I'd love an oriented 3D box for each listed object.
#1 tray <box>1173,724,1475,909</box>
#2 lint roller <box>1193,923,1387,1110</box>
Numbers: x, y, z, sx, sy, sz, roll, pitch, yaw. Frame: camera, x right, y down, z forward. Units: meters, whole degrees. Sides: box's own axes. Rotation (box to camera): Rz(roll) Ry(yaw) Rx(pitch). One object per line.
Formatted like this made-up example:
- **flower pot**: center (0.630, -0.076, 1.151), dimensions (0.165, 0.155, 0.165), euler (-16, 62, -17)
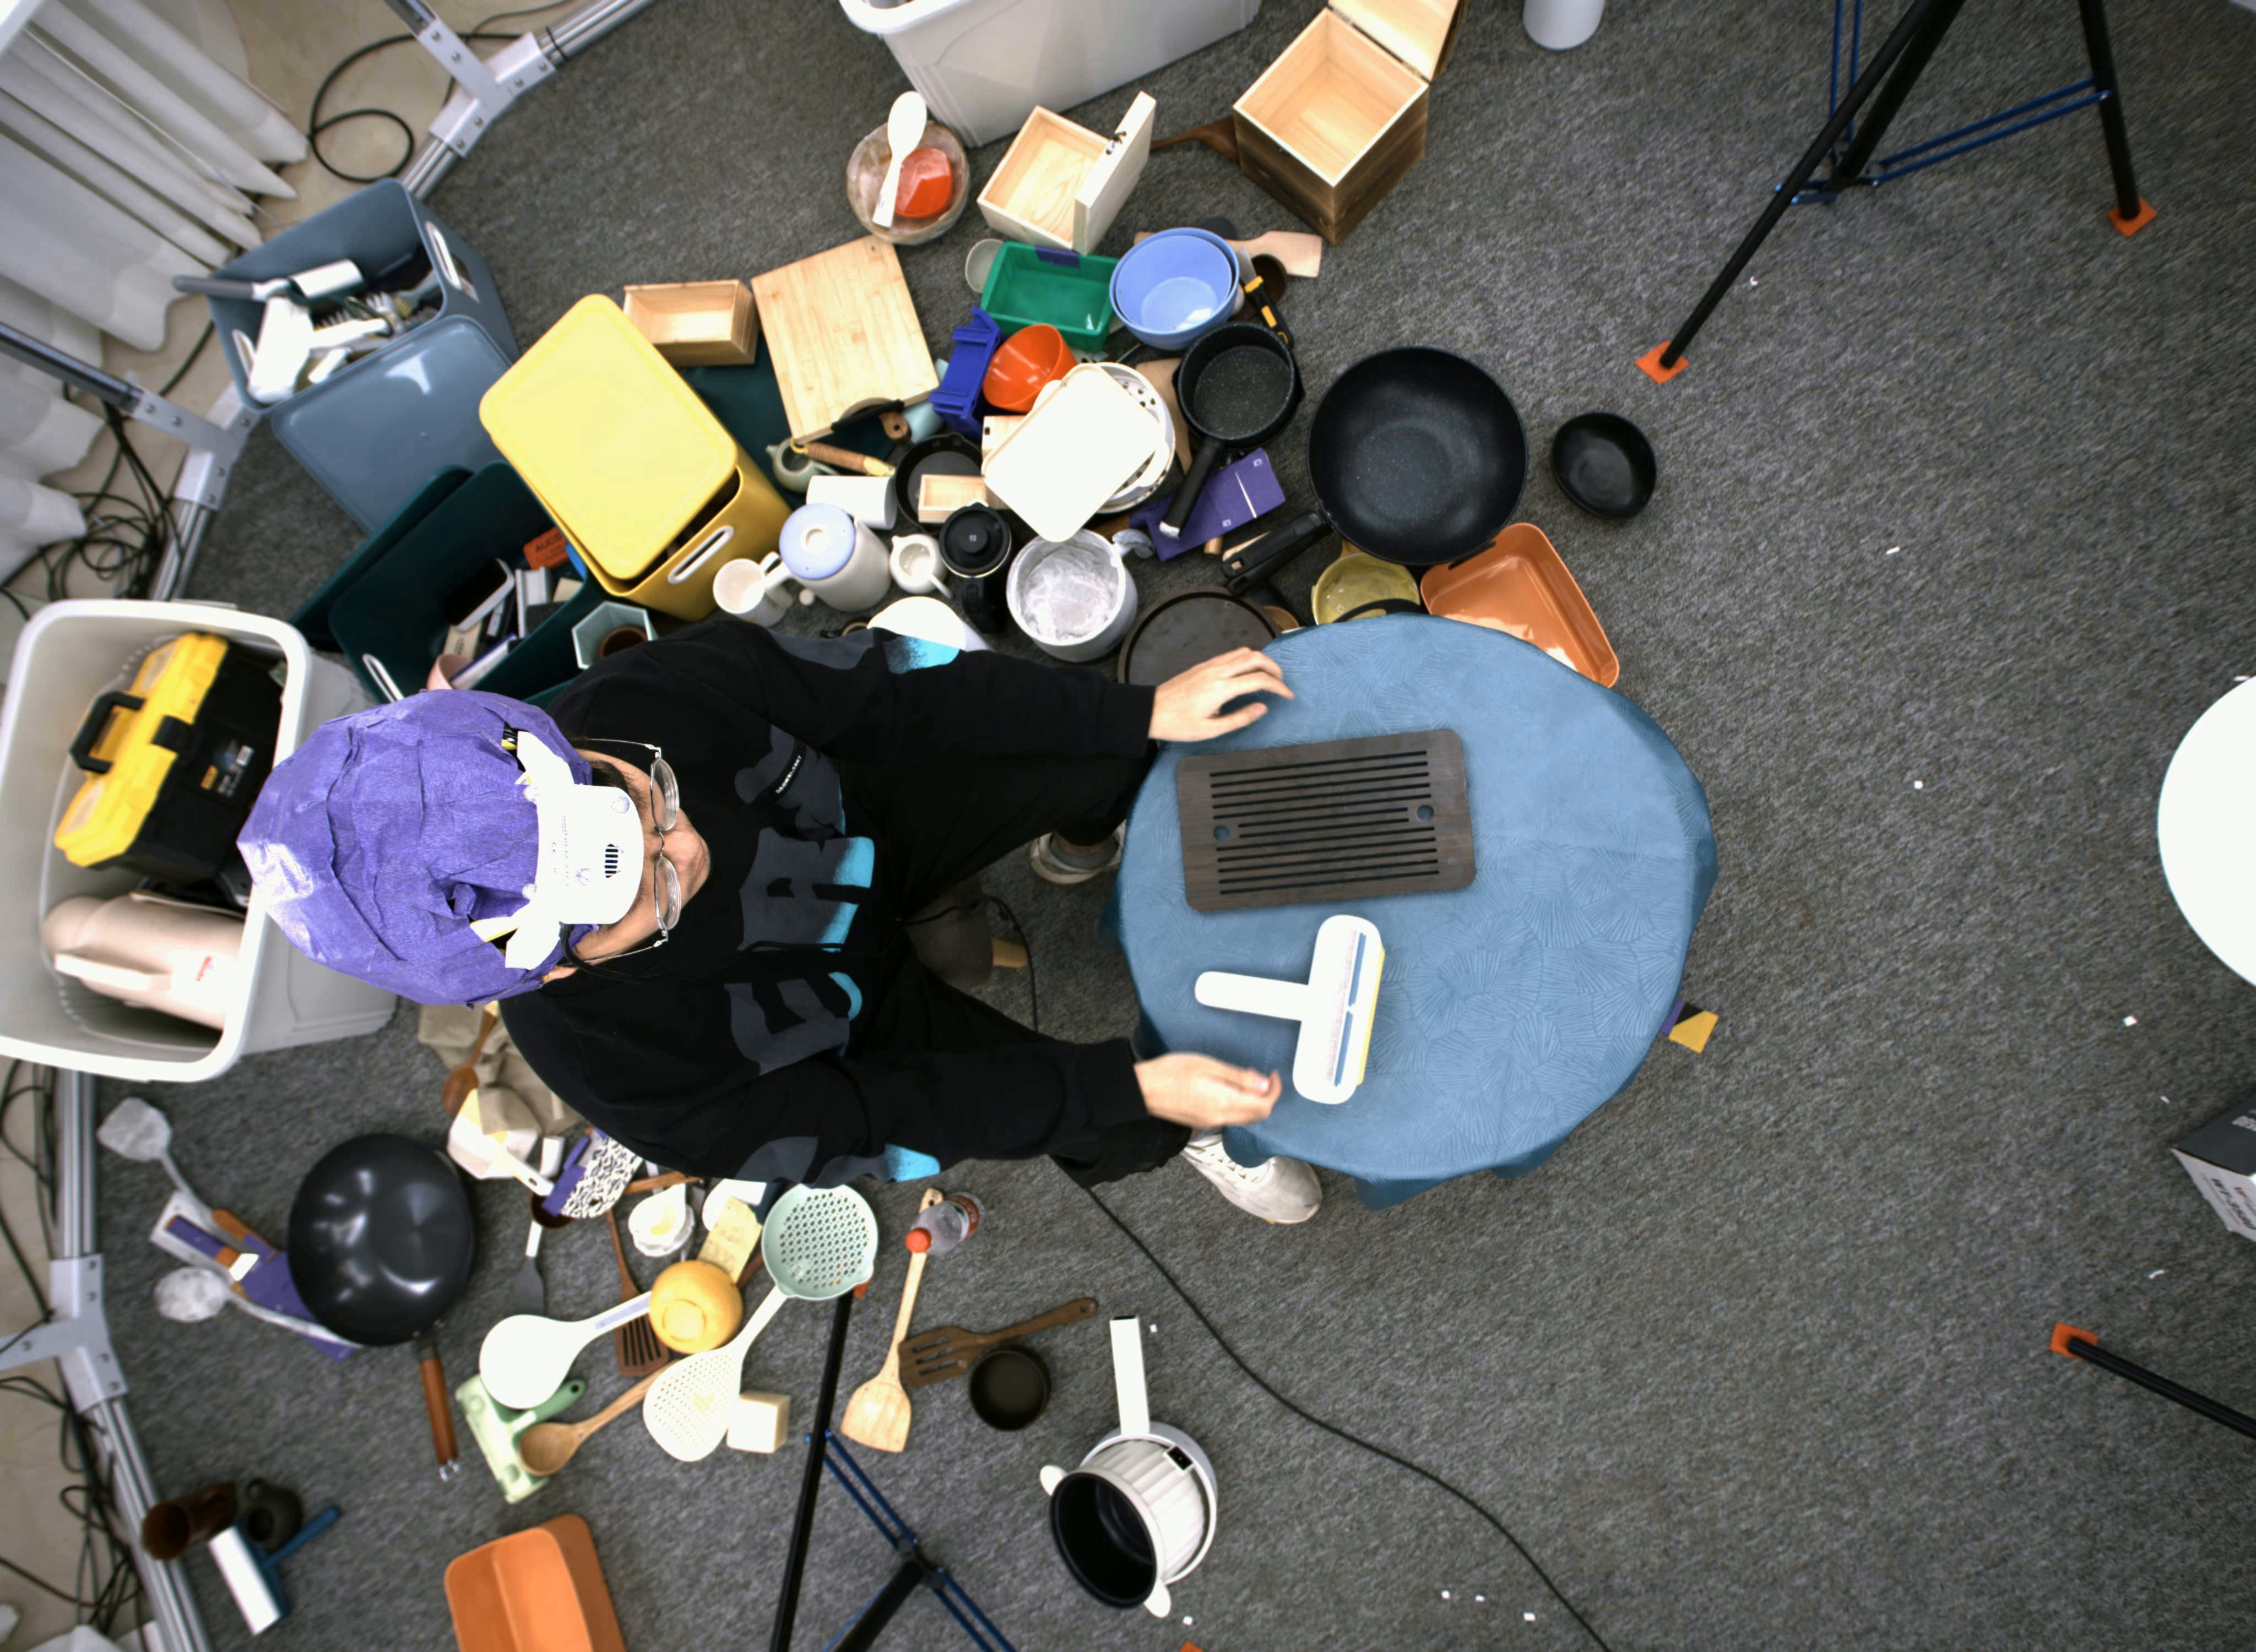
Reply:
- **tray**: center (0.205, -0.010, 1.462), dimensions (0.307, 0.018, 0.169), euler (-6, 86, 10)
- **lint roller**: center (0.158, 0.182, 1.437), dimensions (0.193, 0.074, 0.191), euler (13, 84, 13)
